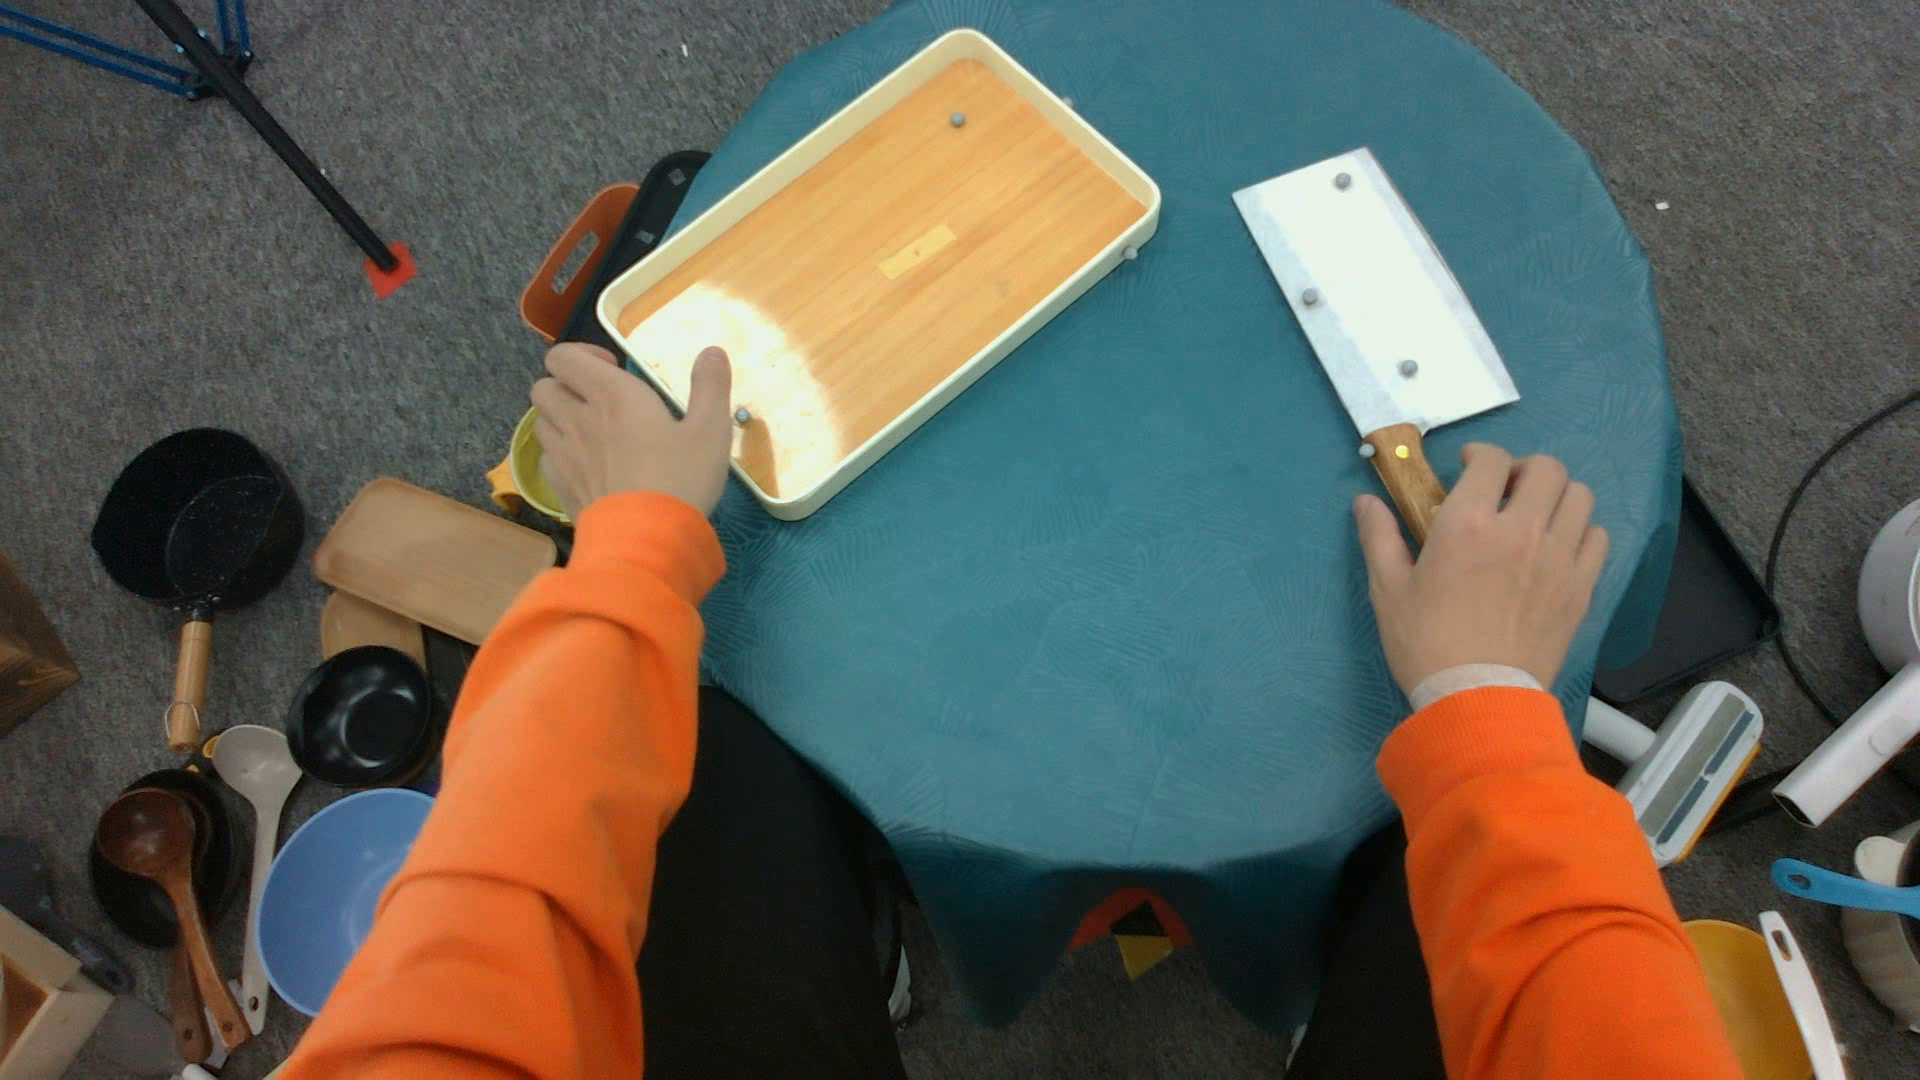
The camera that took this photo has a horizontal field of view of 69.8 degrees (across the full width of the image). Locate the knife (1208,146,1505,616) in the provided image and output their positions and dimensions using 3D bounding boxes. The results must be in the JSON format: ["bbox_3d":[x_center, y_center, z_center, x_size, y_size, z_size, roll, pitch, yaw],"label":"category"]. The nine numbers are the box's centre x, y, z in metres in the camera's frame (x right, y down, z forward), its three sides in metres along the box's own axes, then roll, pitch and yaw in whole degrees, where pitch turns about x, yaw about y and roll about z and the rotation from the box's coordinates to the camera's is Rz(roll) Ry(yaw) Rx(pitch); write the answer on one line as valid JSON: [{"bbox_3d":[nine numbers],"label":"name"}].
[{"bbox_3d":[0.240,-0.103,0.774,0.093,0.021,0.306,-19,66,-5],"label":"knife"}]

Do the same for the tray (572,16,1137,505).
[{"bbox_3d":[-0.061,-0.174,0.820,0.301,0.027,0.192,-40,71,-12],"label":"tray"}]
